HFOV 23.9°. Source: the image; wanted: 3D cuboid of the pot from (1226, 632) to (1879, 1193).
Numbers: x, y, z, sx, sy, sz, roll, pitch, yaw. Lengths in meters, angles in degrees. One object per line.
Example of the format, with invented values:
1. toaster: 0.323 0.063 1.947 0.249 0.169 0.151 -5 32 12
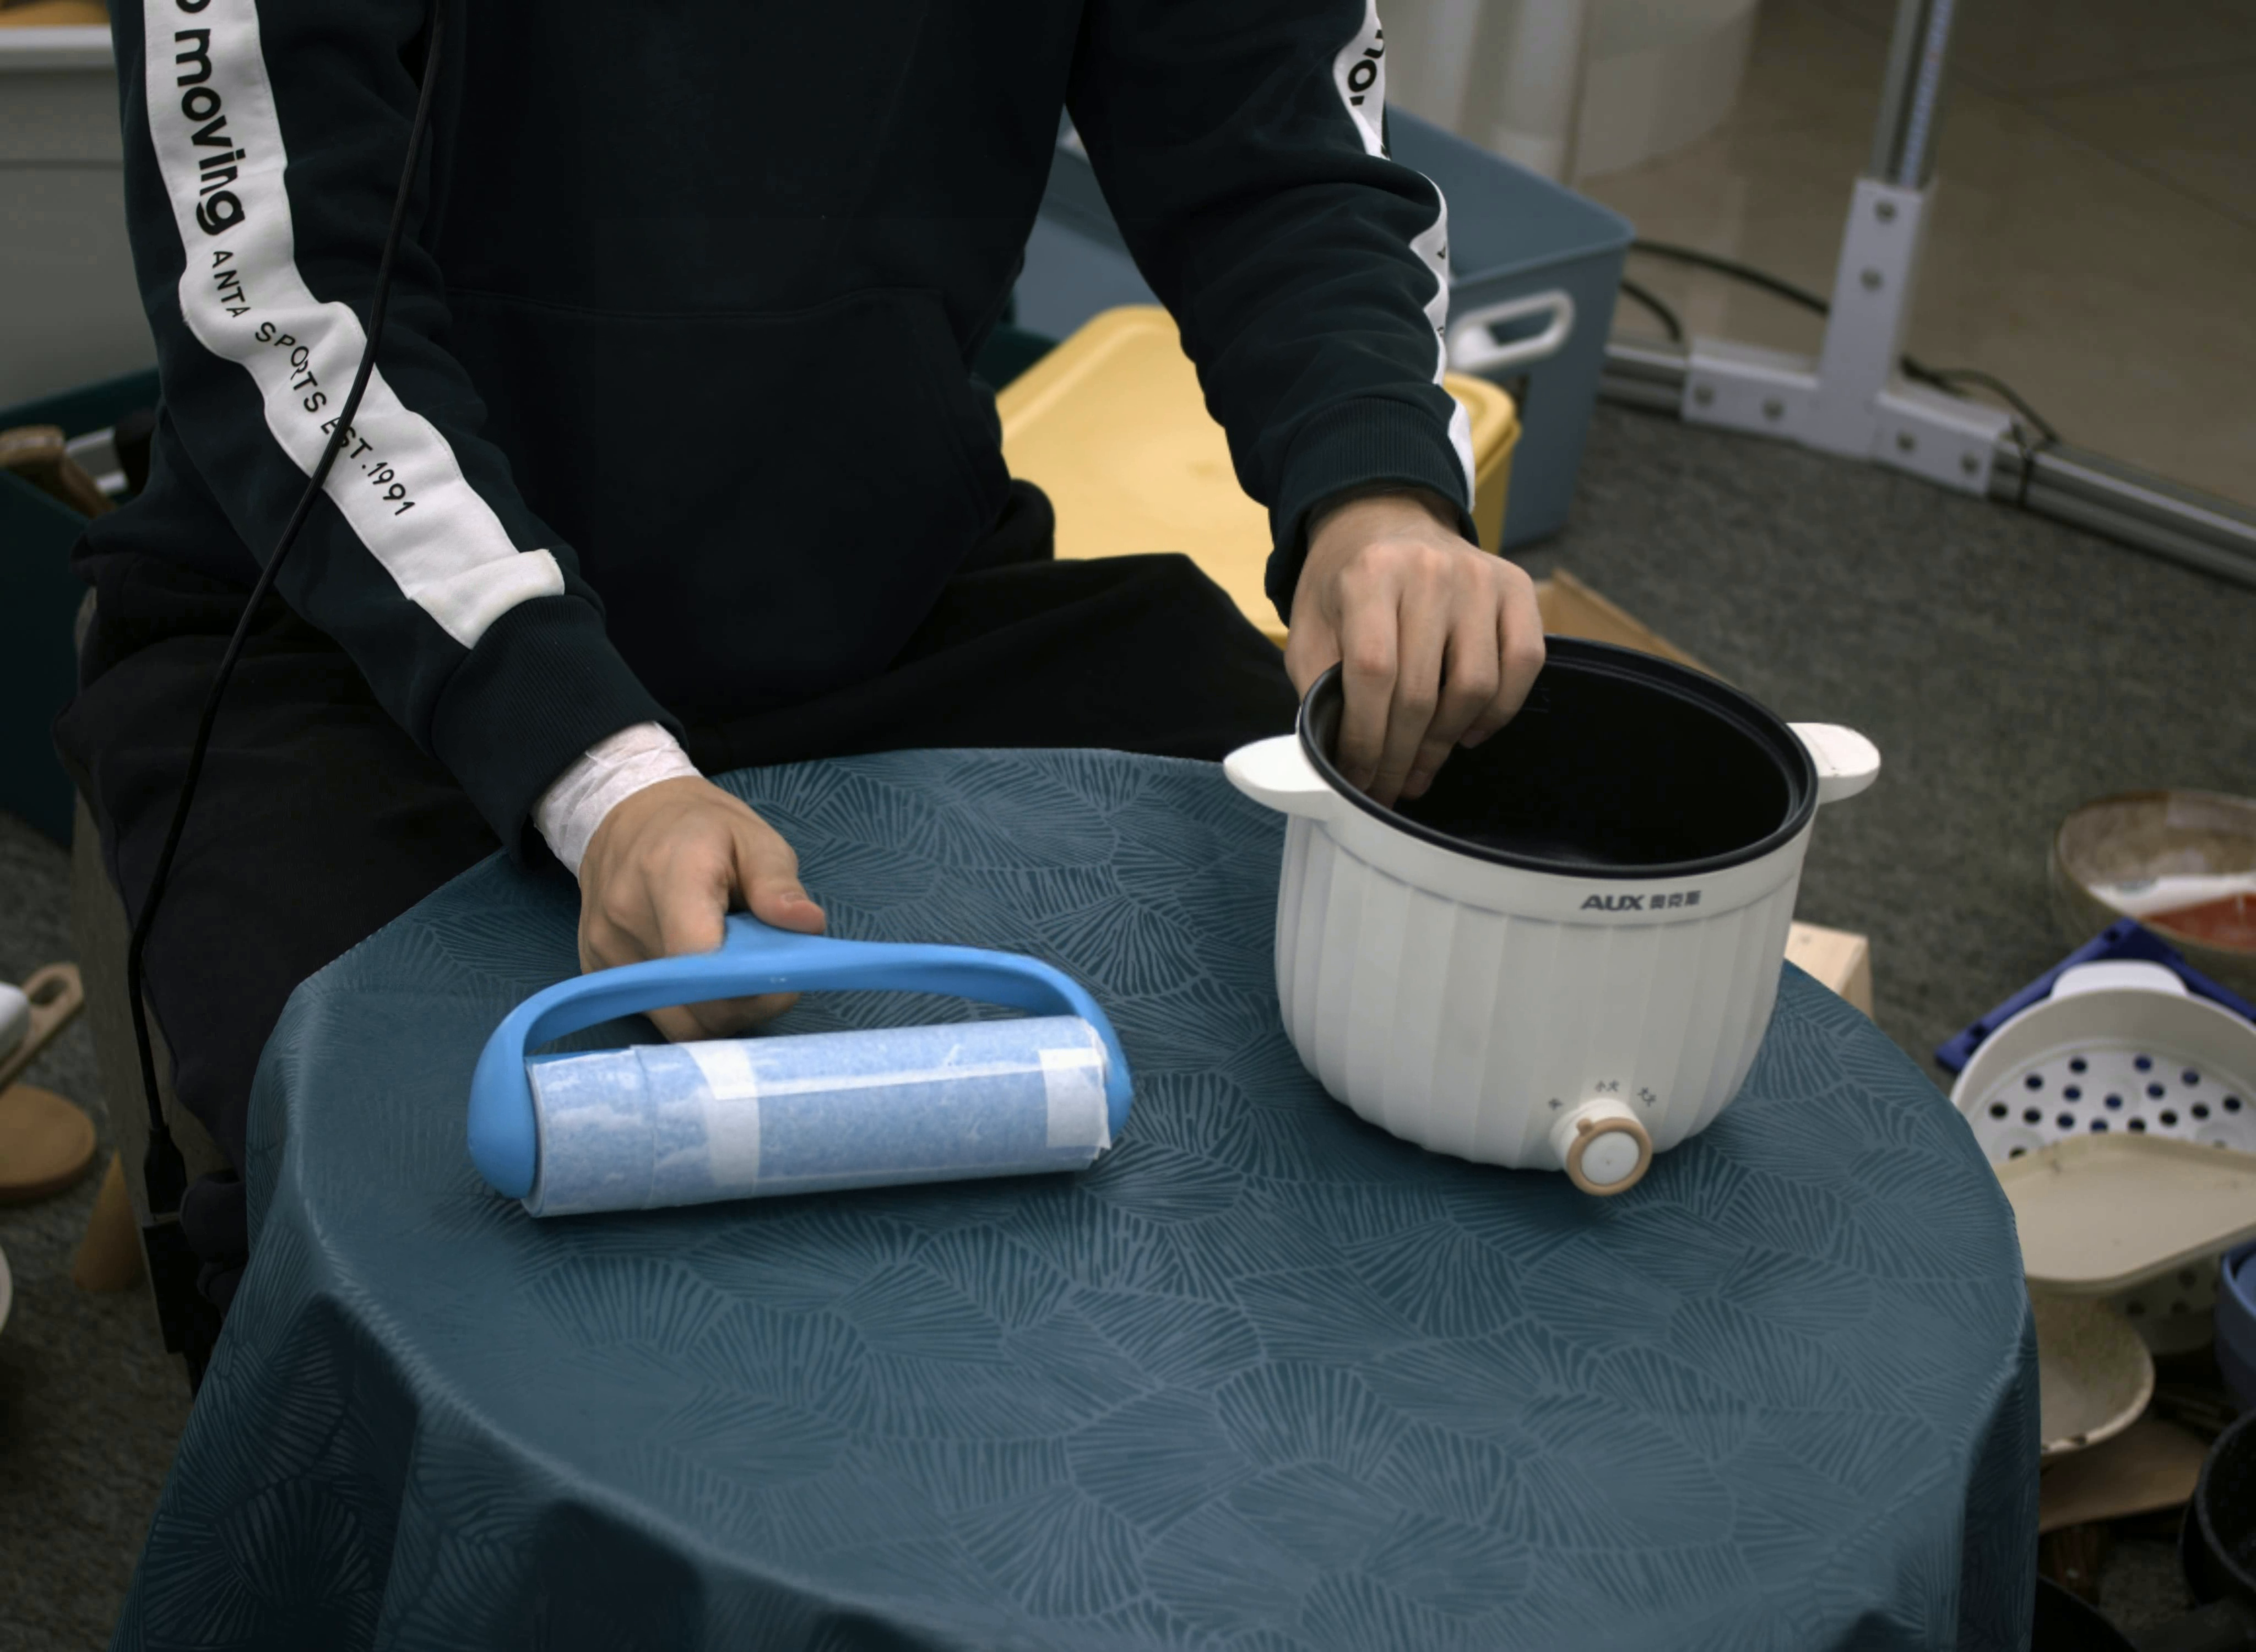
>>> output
1. pot: 0.145 0.033 1.856 0.239 0.142 0.192 -3 25 -16

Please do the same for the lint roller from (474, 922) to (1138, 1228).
1. lint roller: -0.127 0.068 1.817 0.227 0.067 0.182 -7 31 -20
